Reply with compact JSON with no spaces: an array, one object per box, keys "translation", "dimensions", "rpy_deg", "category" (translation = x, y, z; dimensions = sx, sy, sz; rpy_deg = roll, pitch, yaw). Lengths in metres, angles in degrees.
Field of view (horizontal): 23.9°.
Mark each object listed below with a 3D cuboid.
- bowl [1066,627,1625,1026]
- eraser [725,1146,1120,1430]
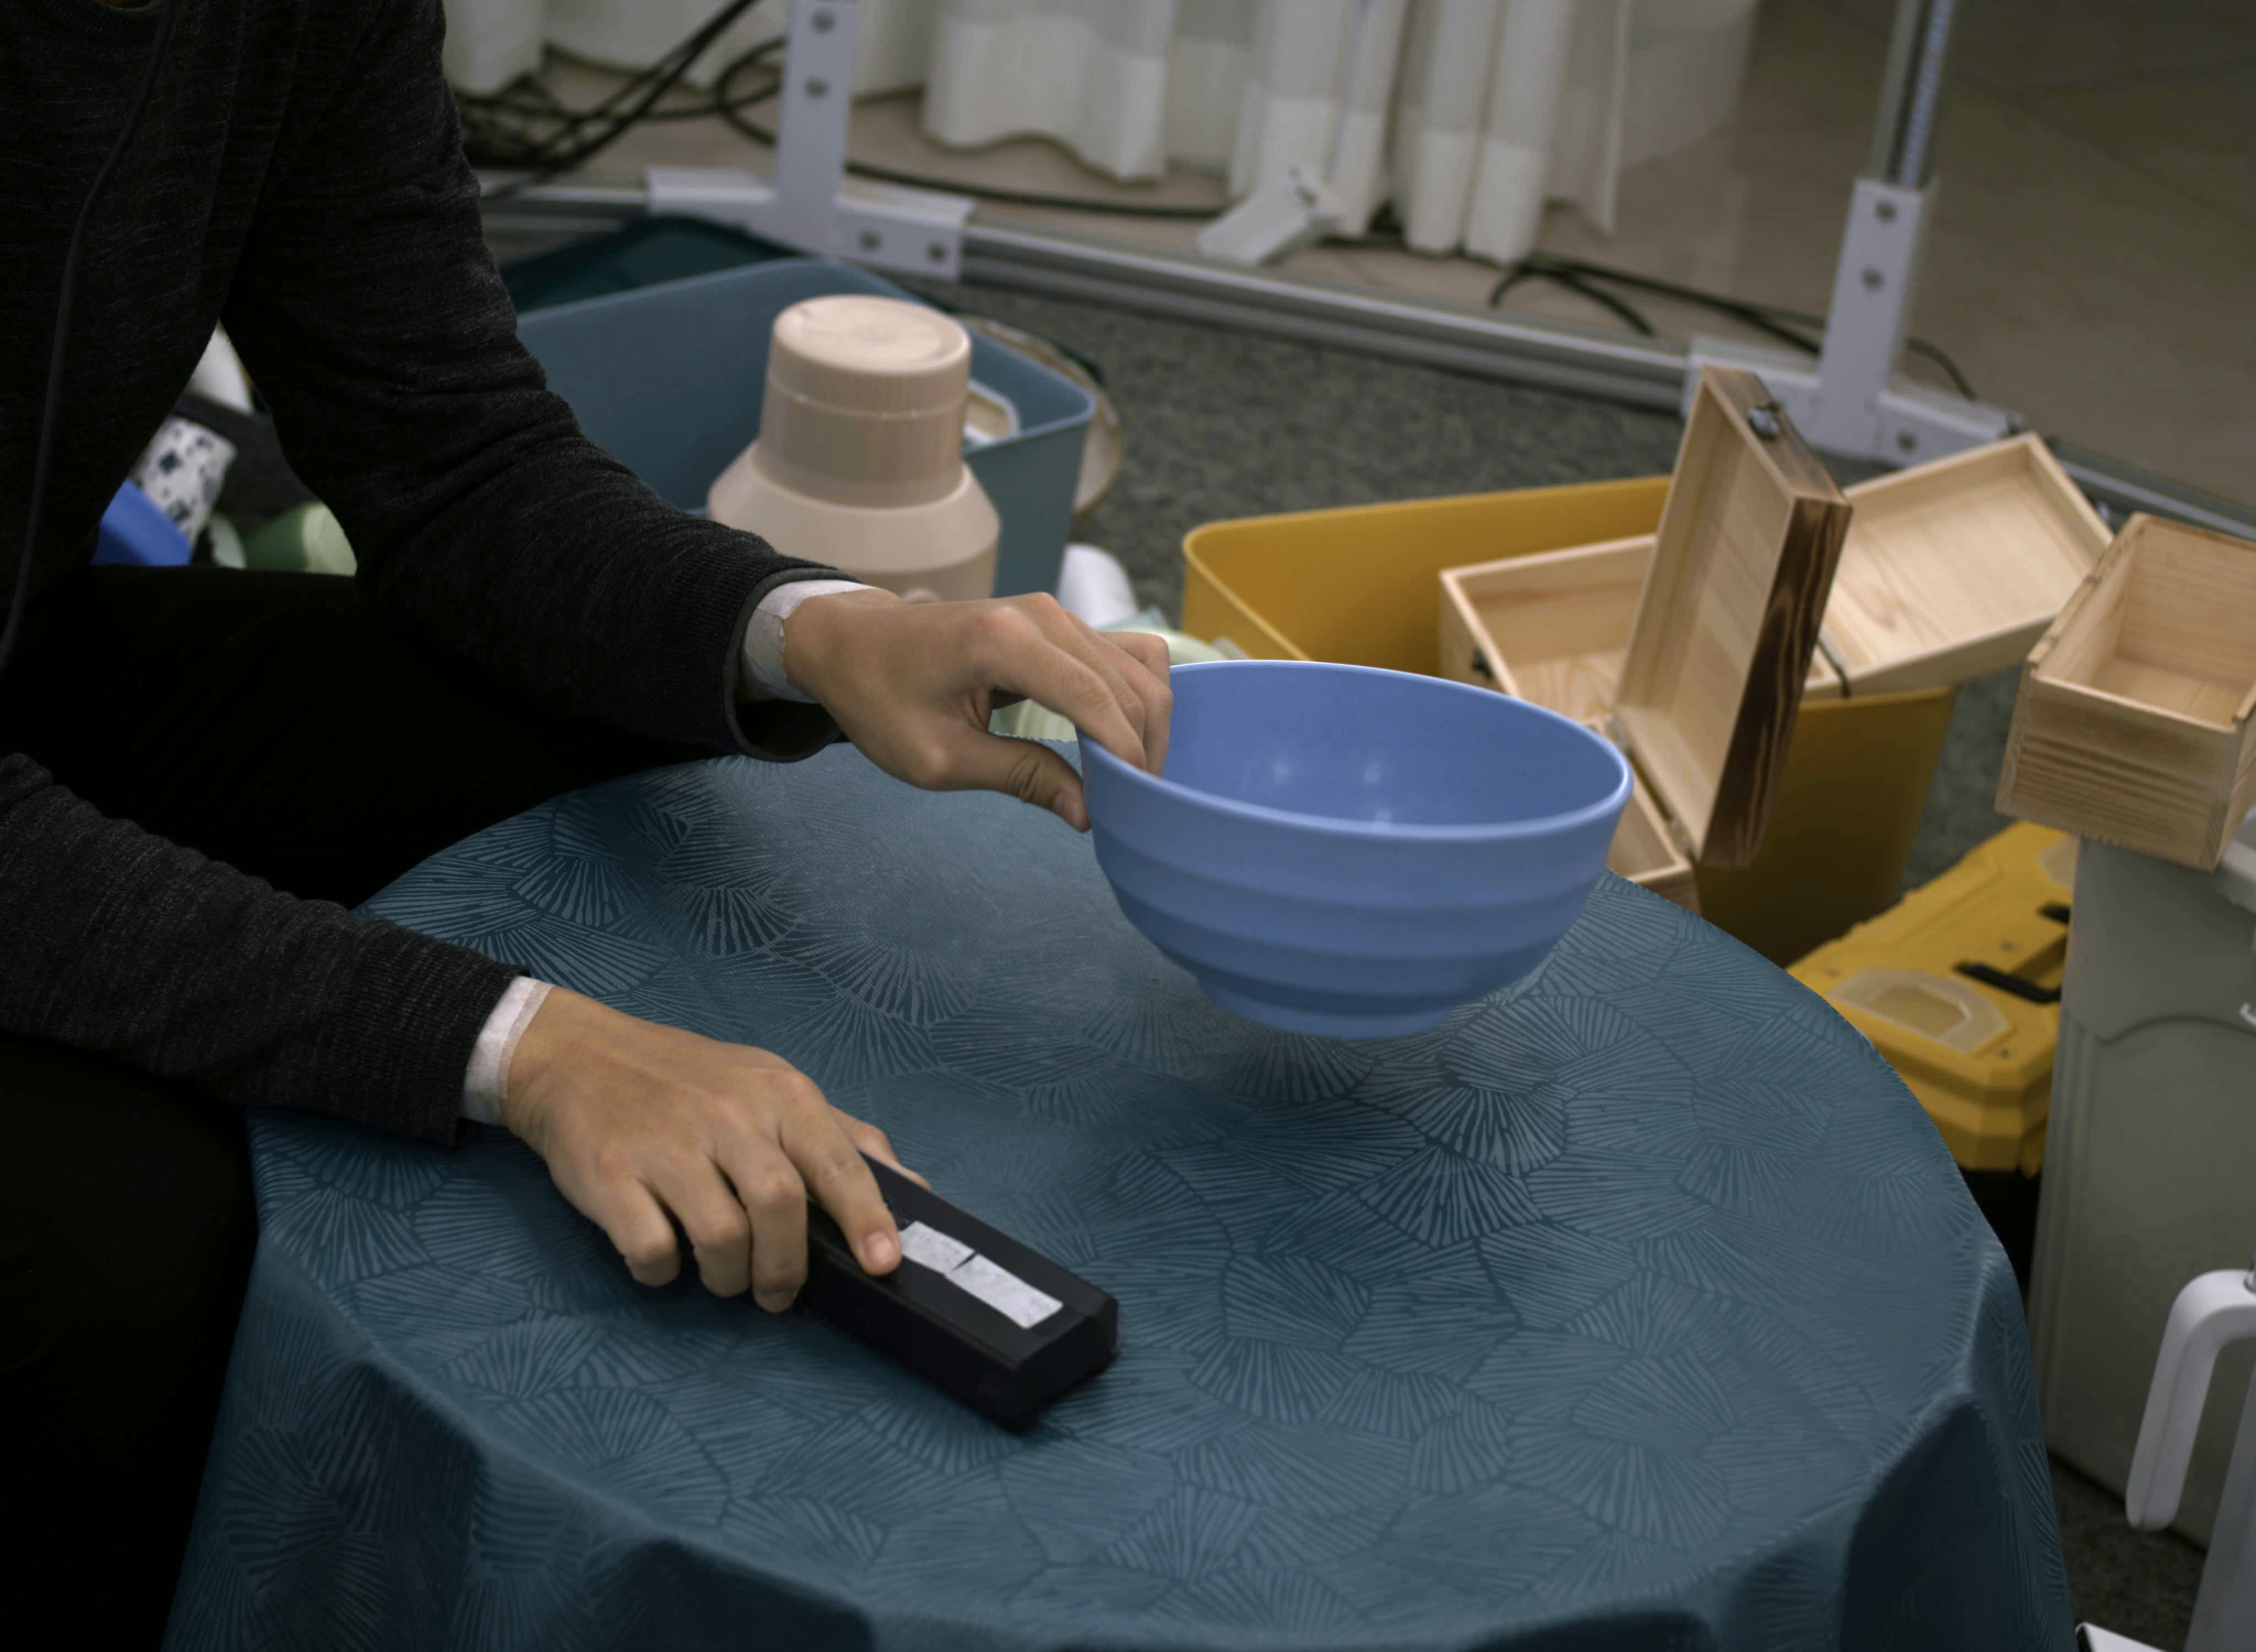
[{"translation":[0.072,0.009,1.875],"dimensions":[0.196,0.095,0.197],"rpy_deg":[4,23,-2],"category":"bowl"},{"translation":[-0.066,0.147,1.701],"dimensions":[0.126,0.030,0.053],"rpy_deg":[26,37,30],"category":"eraser"}]
